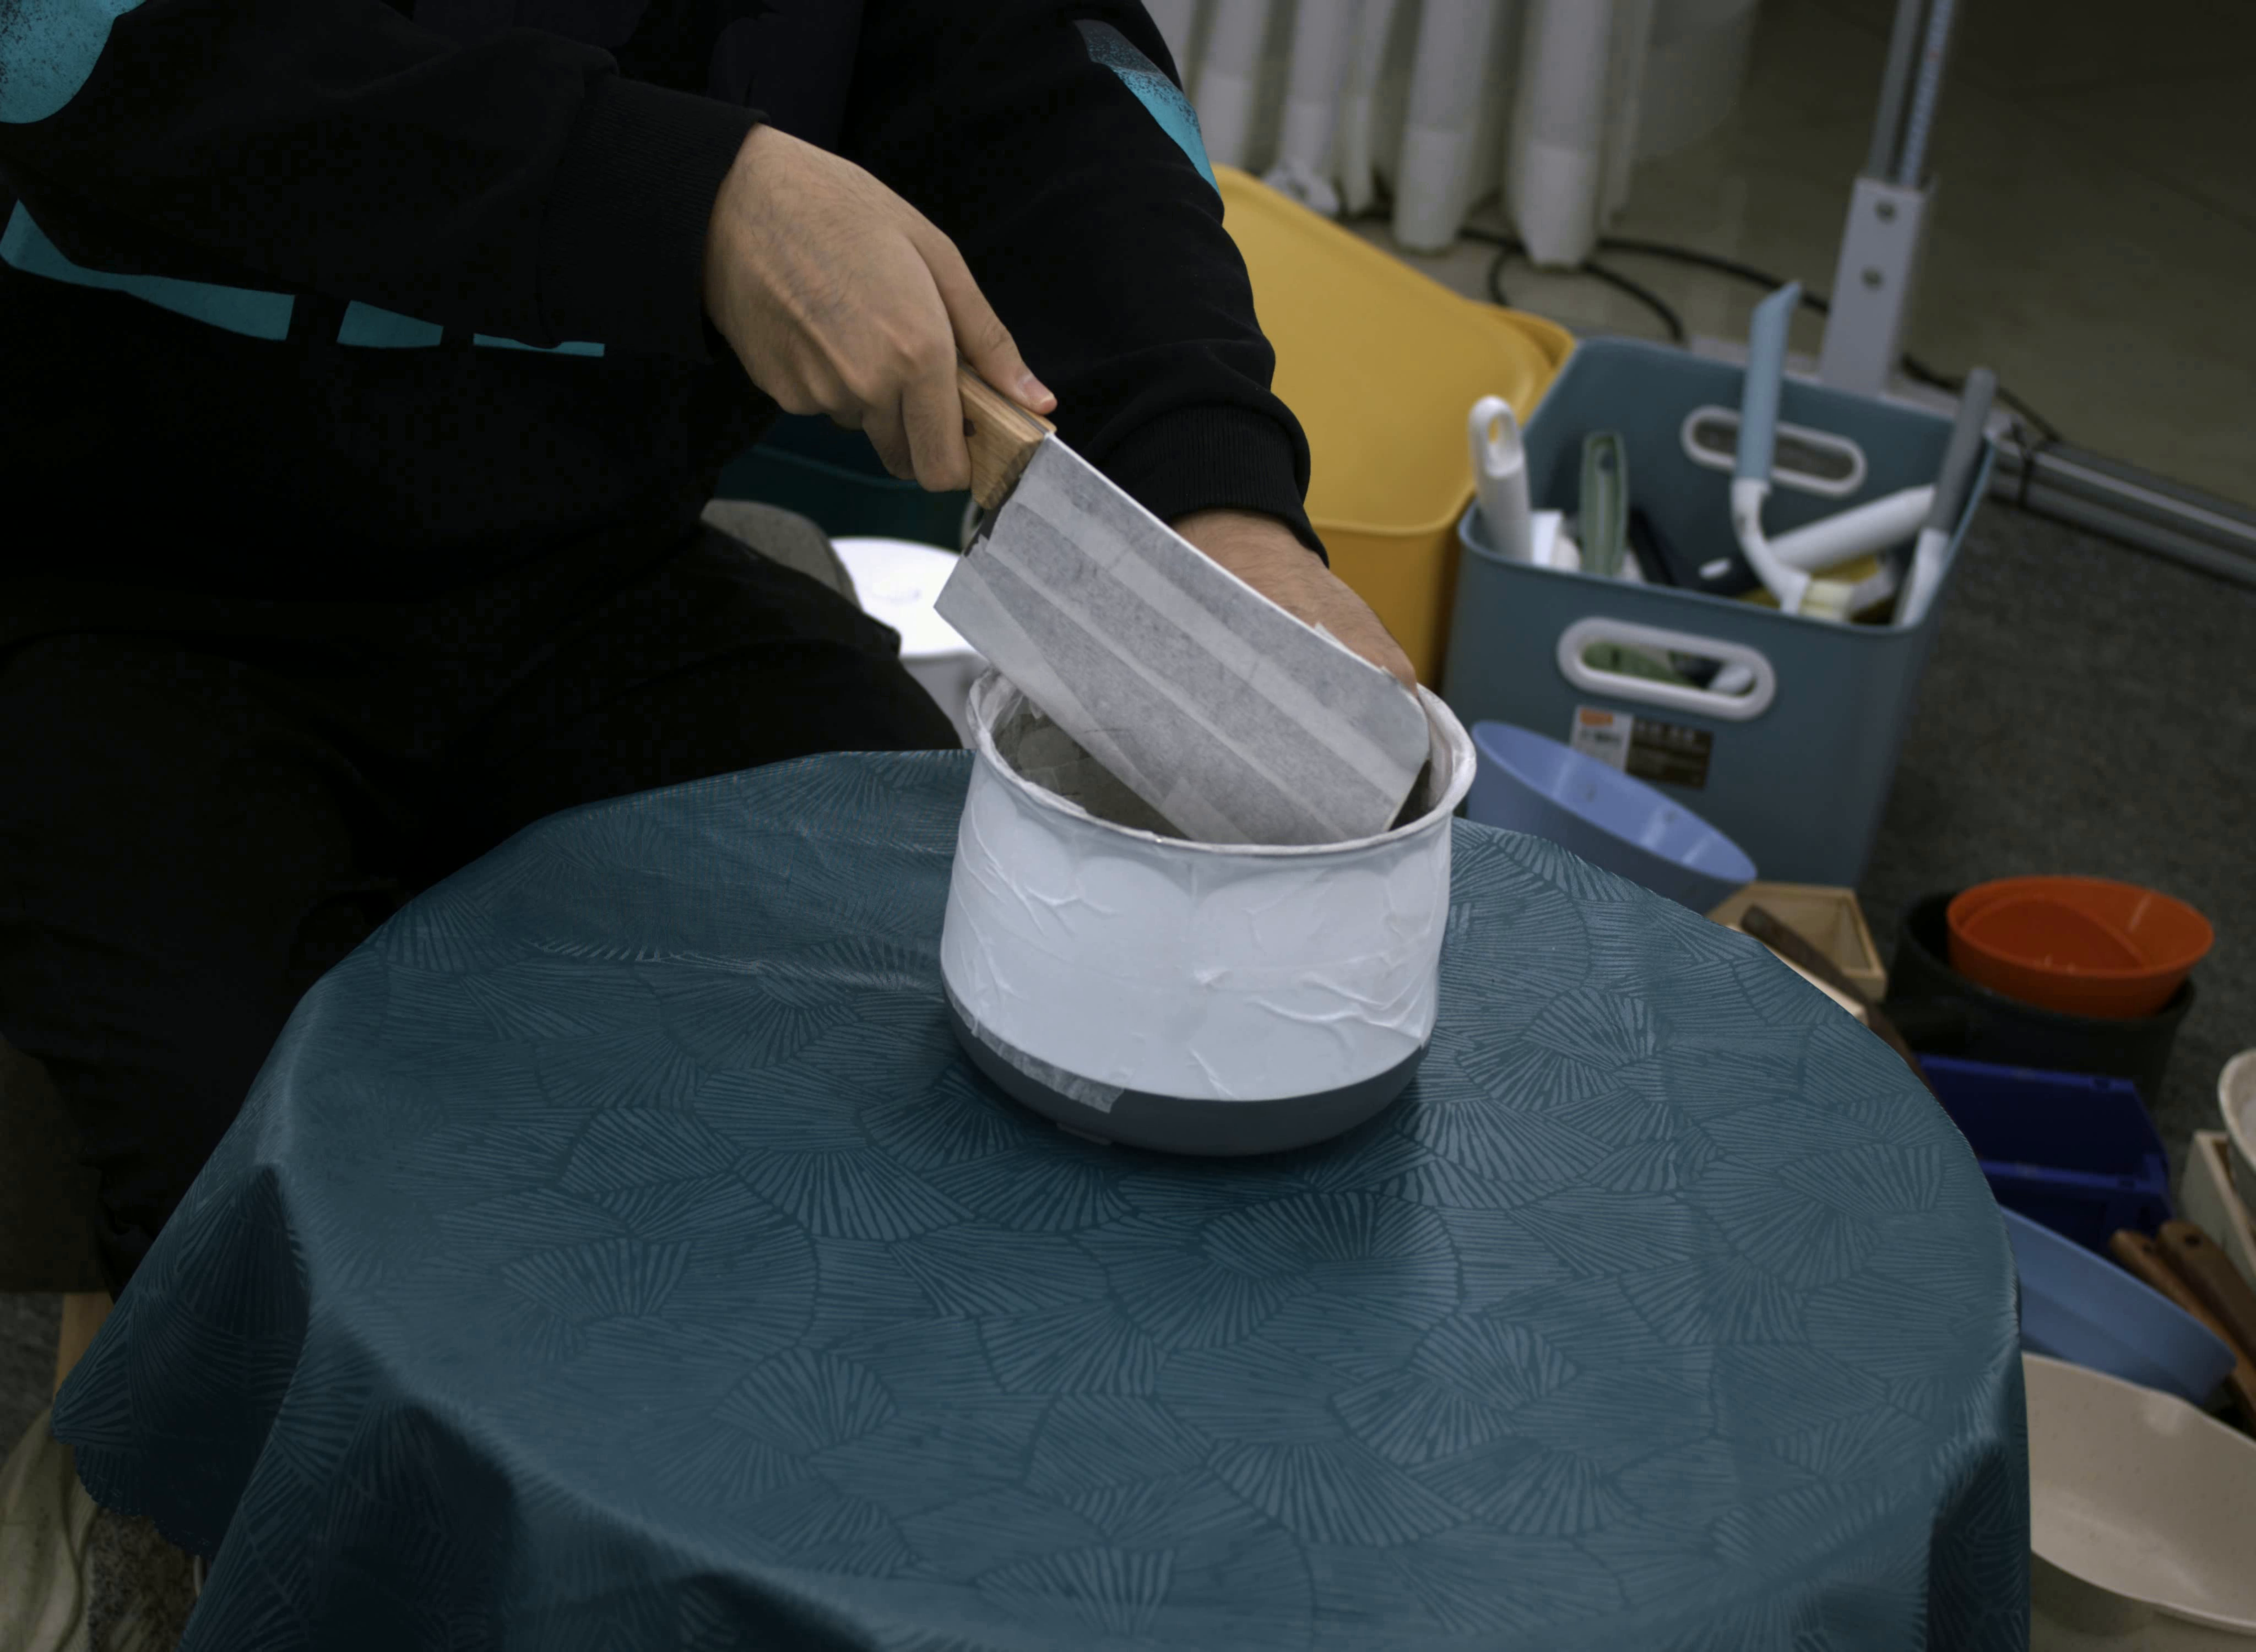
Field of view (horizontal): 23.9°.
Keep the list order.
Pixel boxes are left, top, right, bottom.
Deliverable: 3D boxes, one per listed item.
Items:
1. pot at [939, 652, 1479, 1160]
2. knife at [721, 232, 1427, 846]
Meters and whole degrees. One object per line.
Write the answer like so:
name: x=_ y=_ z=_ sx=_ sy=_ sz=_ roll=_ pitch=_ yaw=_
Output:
pot: x=0.017 y=0.010 z=1.878 sx=0.177 sy=0.136 sz=0.236 roll=-2 pitch=29 yaw=-18
knife: x=-0.023 y=-0.095 z=1.823 sx=0.316 sy=0.114 sz=0.021 roll=43 pitch=33 yaw=14
